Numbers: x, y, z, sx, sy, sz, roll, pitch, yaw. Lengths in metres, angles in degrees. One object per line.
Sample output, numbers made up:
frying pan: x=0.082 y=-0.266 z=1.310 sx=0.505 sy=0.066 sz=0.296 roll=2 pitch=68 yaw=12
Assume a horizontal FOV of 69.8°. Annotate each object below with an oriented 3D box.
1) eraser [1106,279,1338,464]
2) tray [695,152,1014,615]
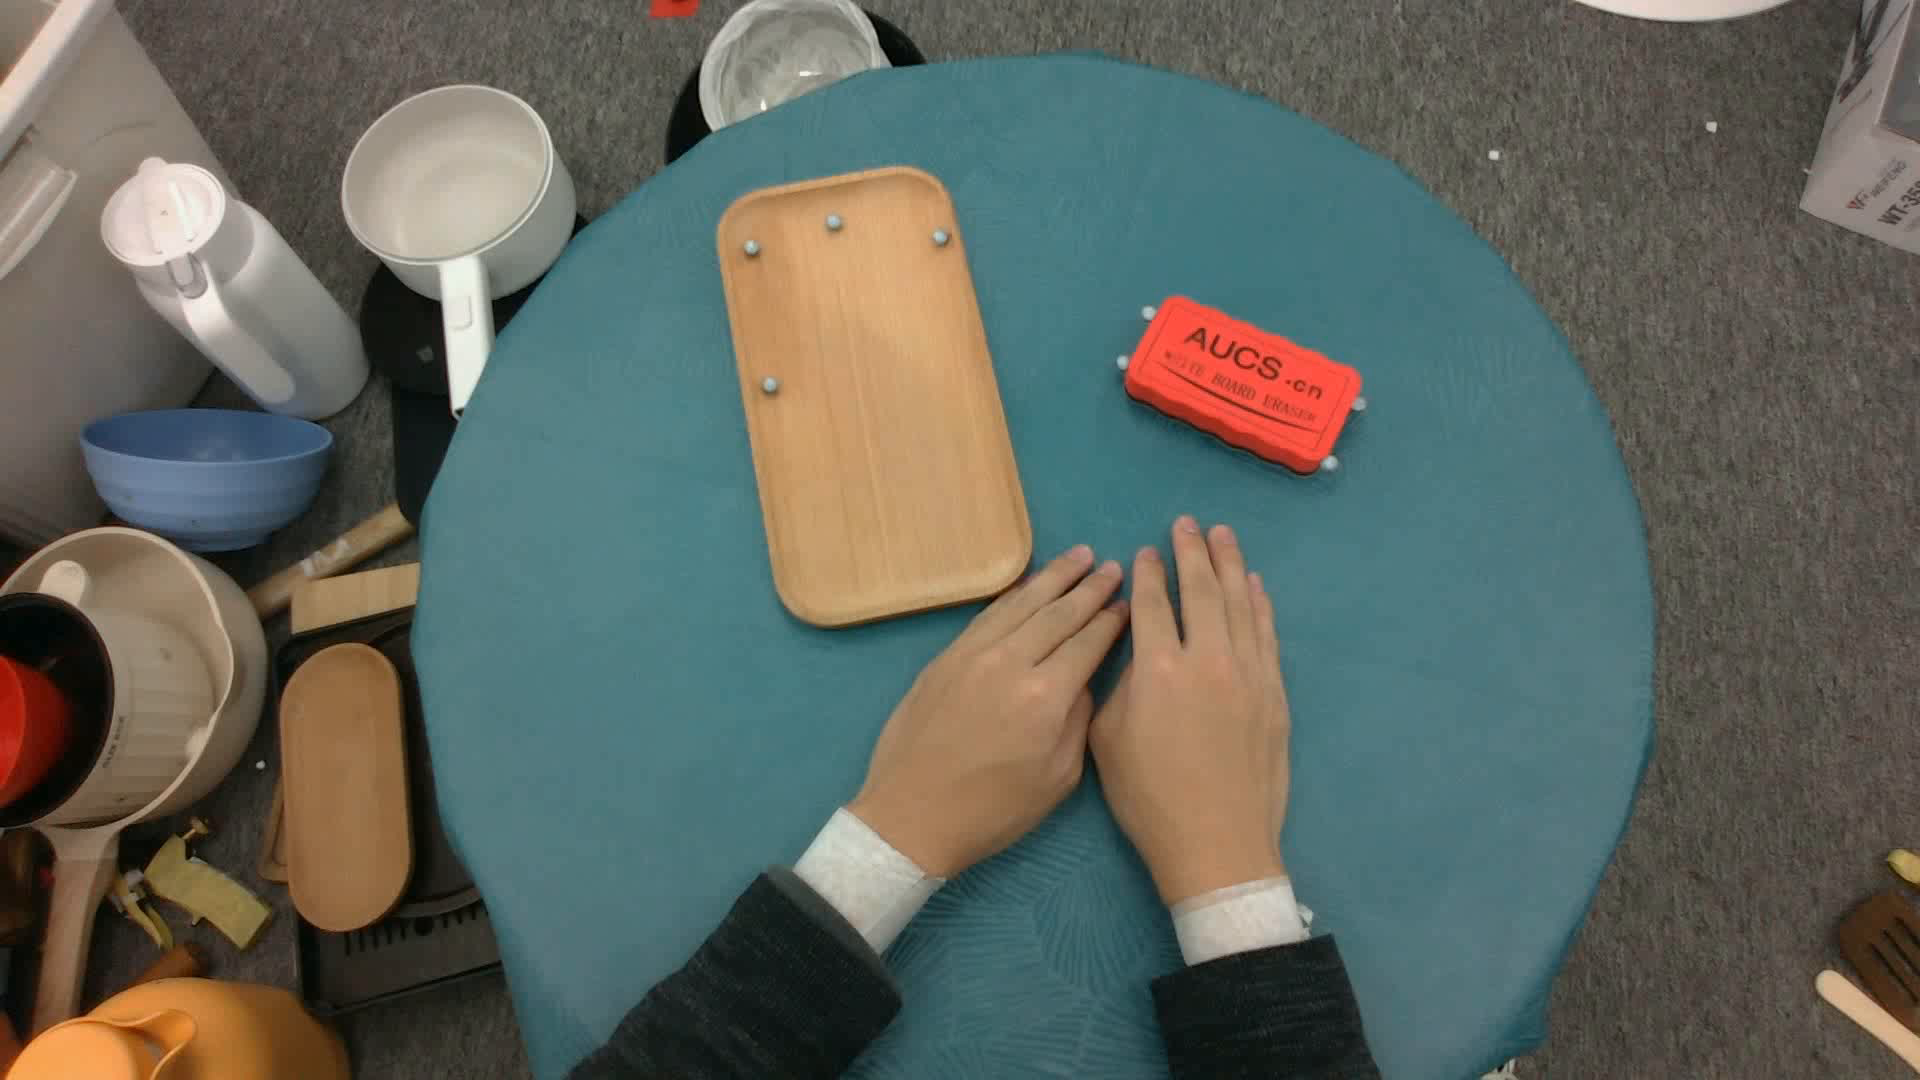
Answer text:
eraser: x=0.131 y=-0.086 z=0.696 sx=0.108 sy=0.023 sz=0.059 roll=27 pitch=72 yaw=10
tray: x=-0.056 y=-0.085 z=0.699 sx=0.130 sy=0.023 sz=0.251 roll=-11 pitch=70 yaw=-2
